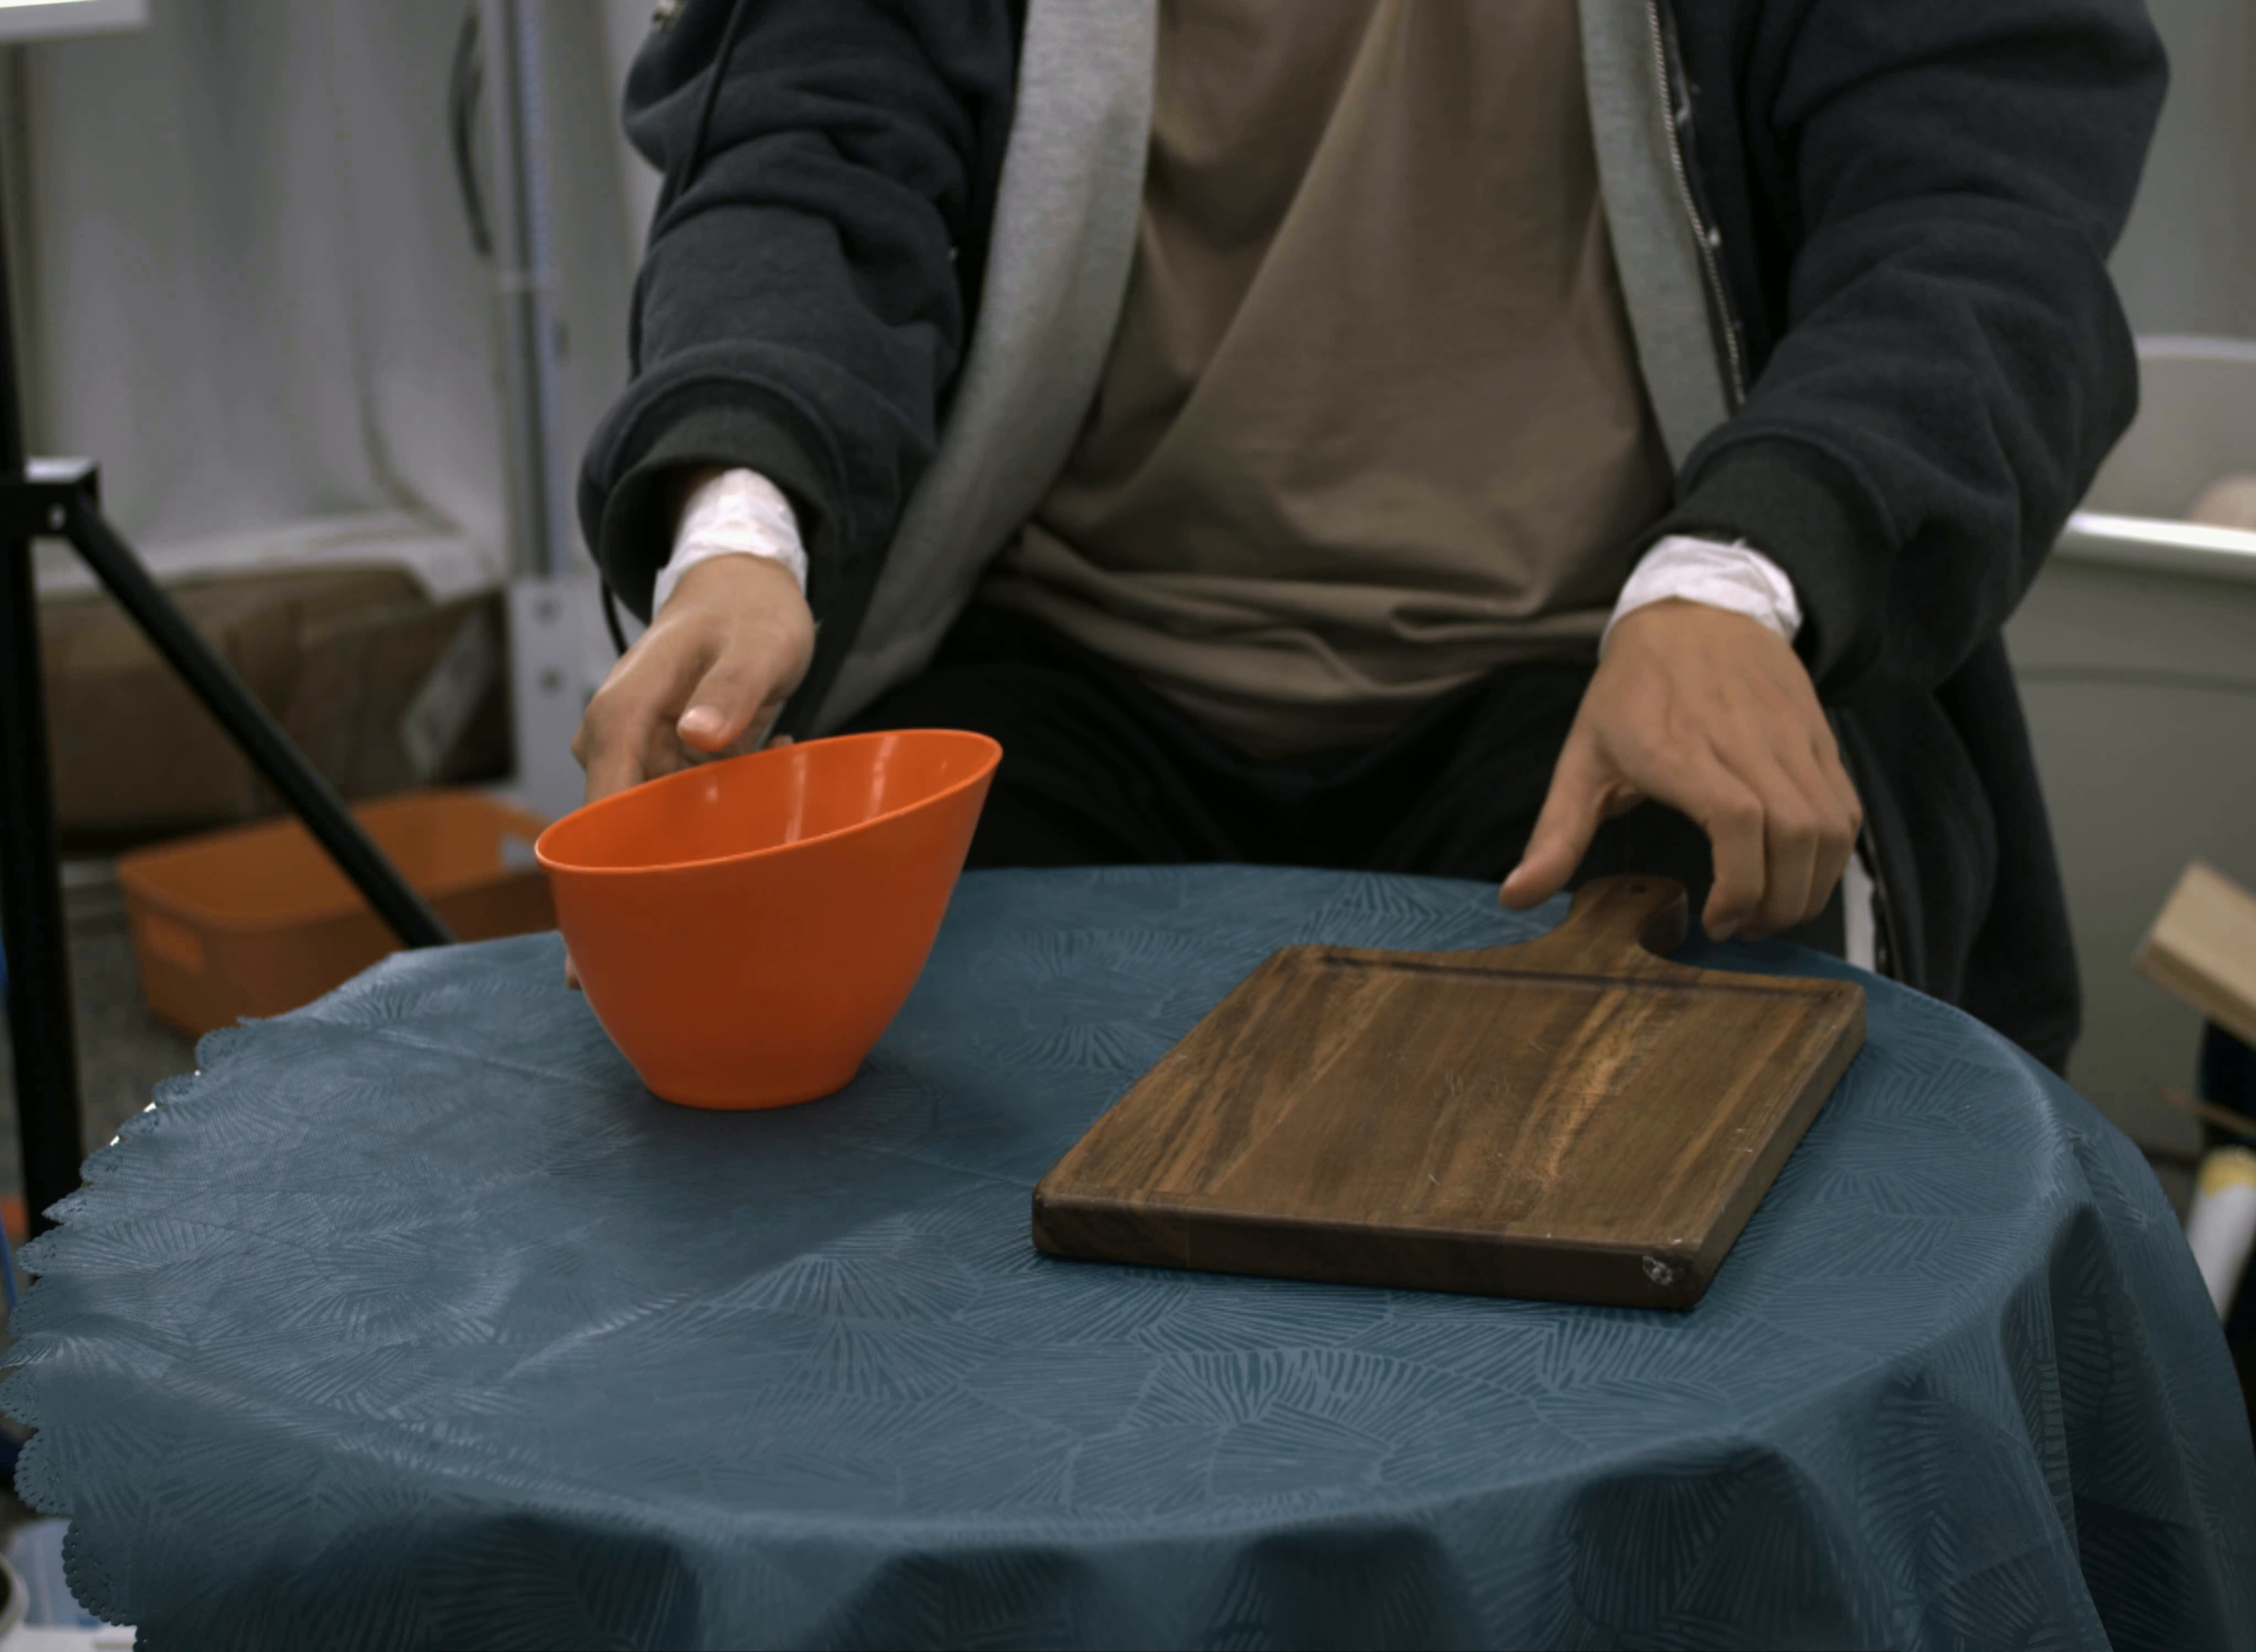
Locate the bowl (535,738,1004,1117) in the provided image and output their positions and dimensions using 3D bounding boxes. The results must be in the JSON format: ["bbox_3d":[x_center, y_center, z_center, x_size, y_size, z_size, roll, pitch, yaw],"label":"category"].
[{"bbox_3d":[-0.110,0.032,1.663,0.147,0.104,0.149,-3,15,-1],"label":"bowl"}]

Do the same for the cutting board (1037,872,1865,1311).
[{"bbox_3d":[0.118,0.073,1.628,0.203,0.023,0.348,3,17,19],"label":"cutting board"}]
